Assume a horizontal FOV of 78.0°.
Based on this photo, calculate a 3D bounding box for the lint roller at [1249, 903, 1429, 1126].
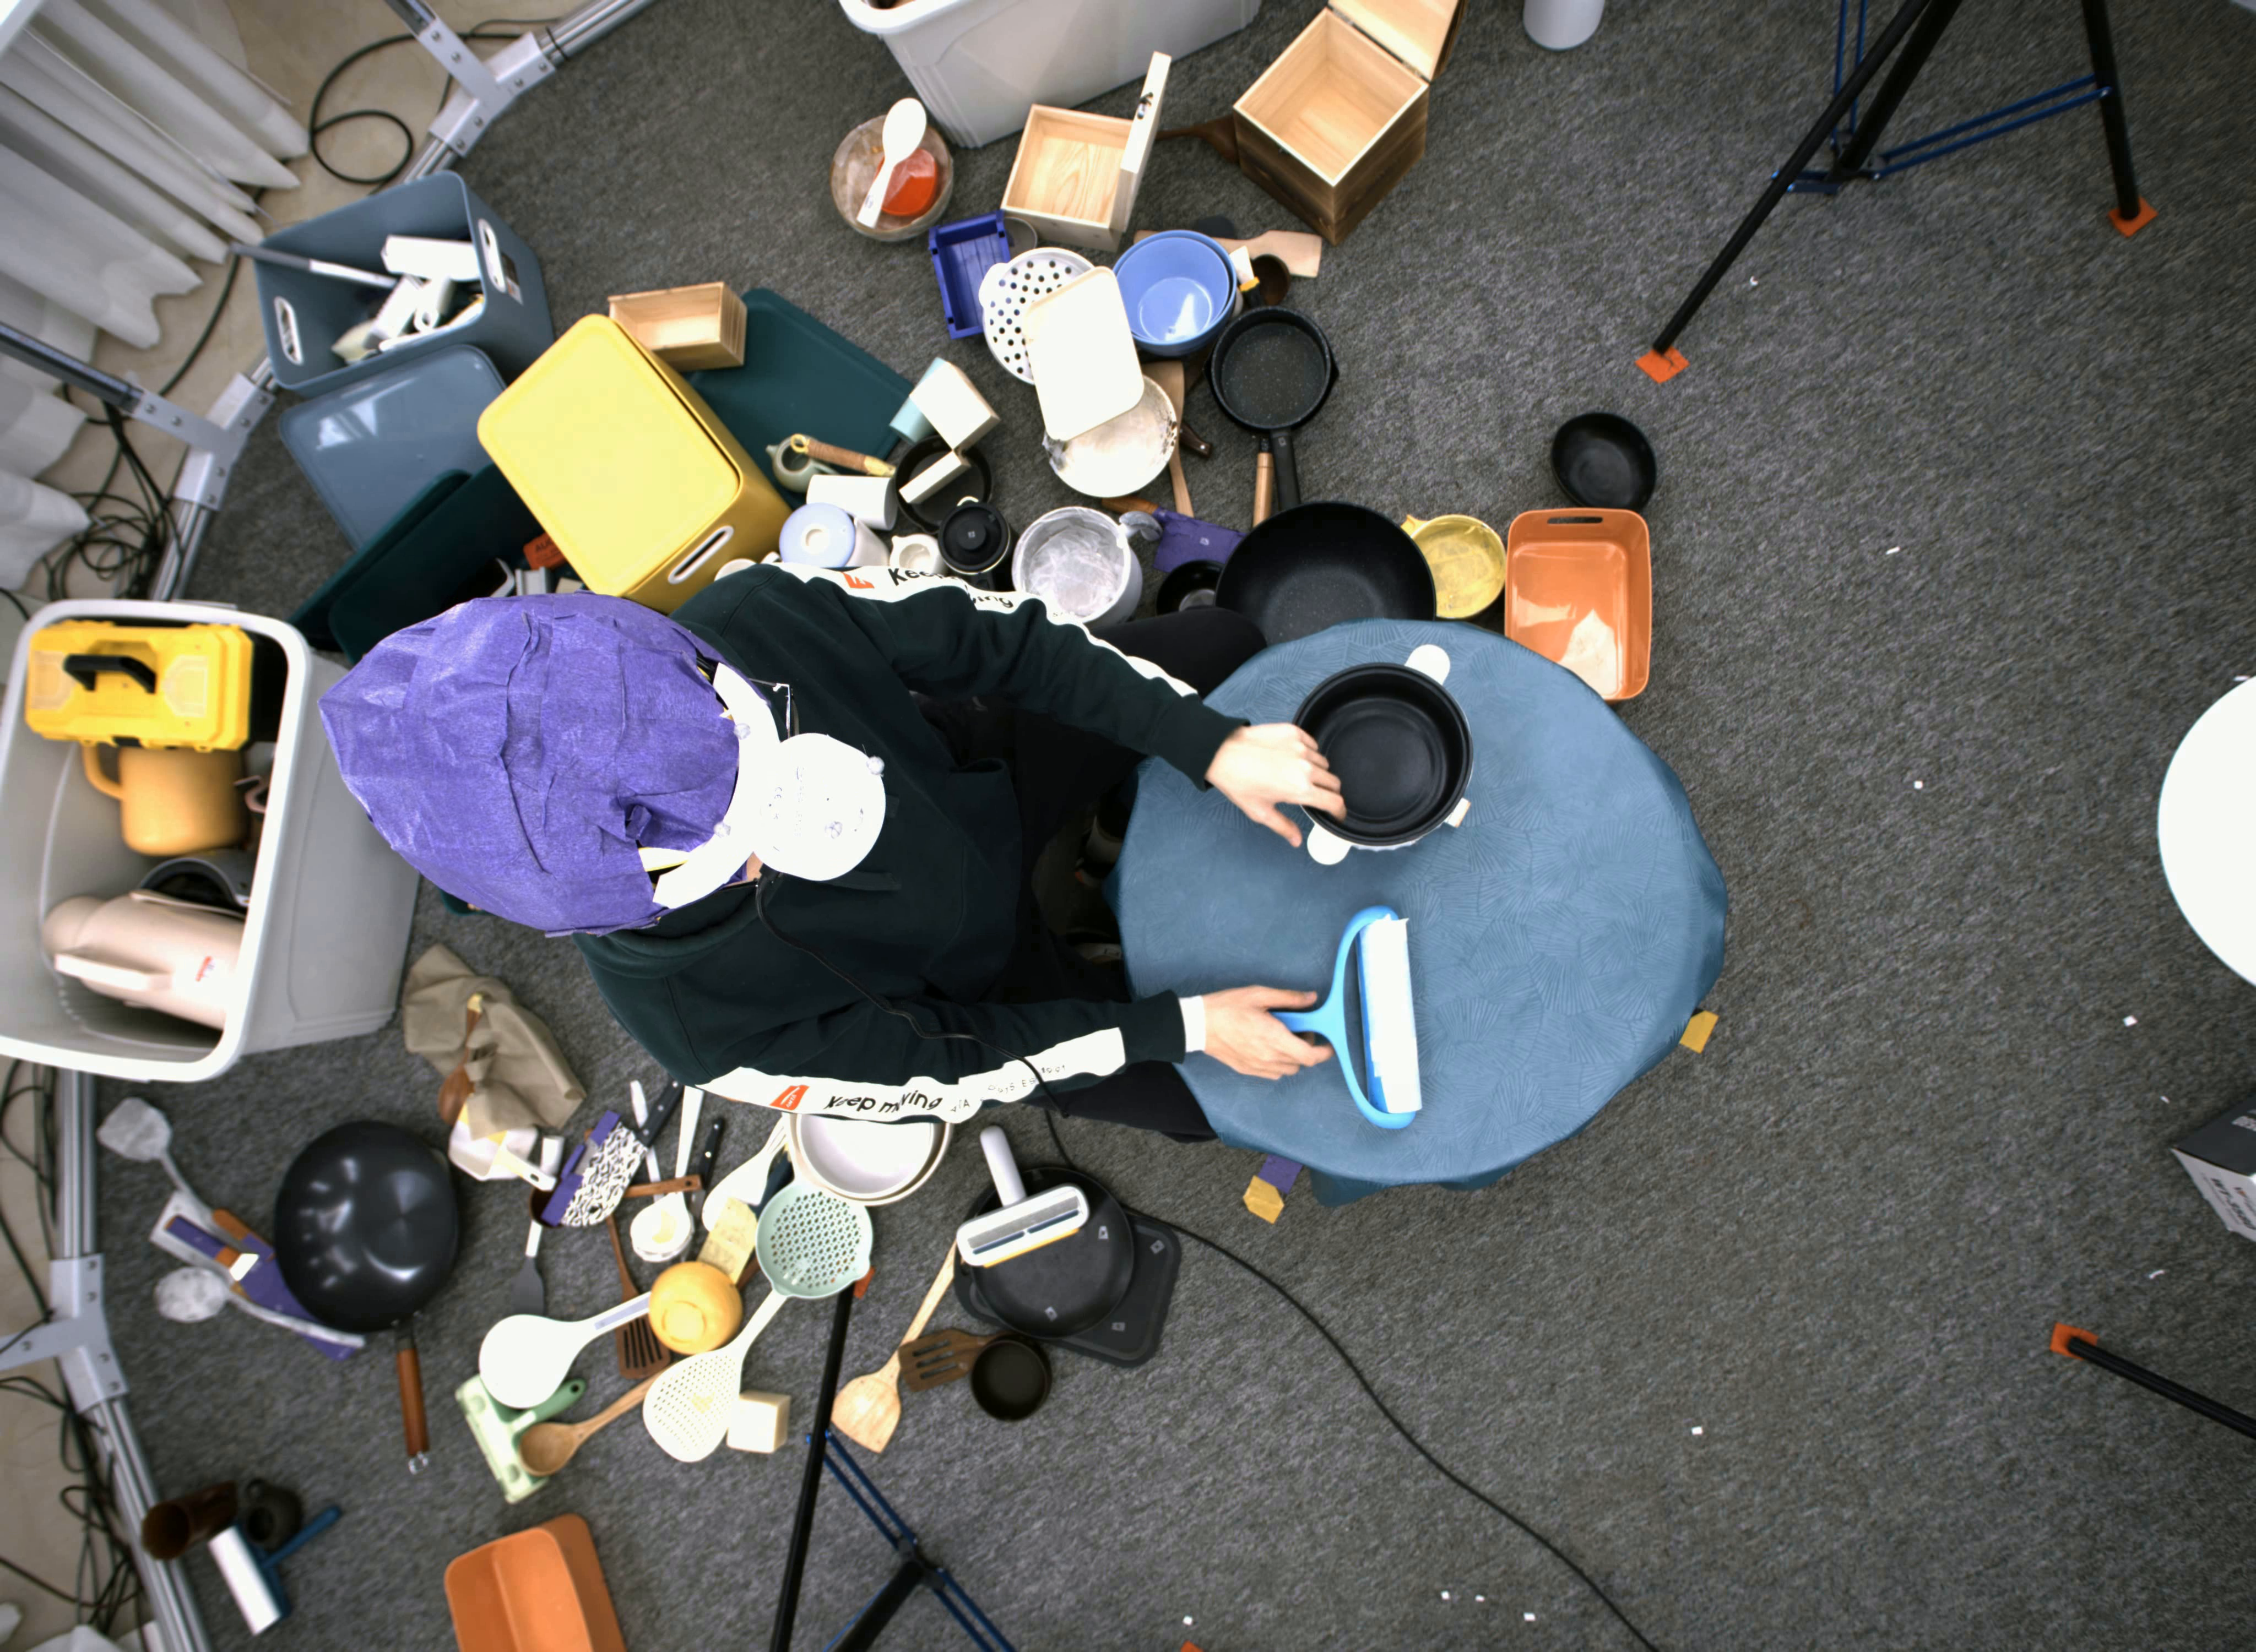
[{"bbox_3d":[0.213,0.201,1.431,0.181,0.068,0.228,-9,87,9],"label":"lint roller"}]

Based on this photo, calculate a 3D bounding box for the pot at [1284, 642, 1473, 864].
[{"bbox_3d":[0.259,-0.065,1.394,0.190,0.142,0.241,29,93,14],"label":"pot"}]
